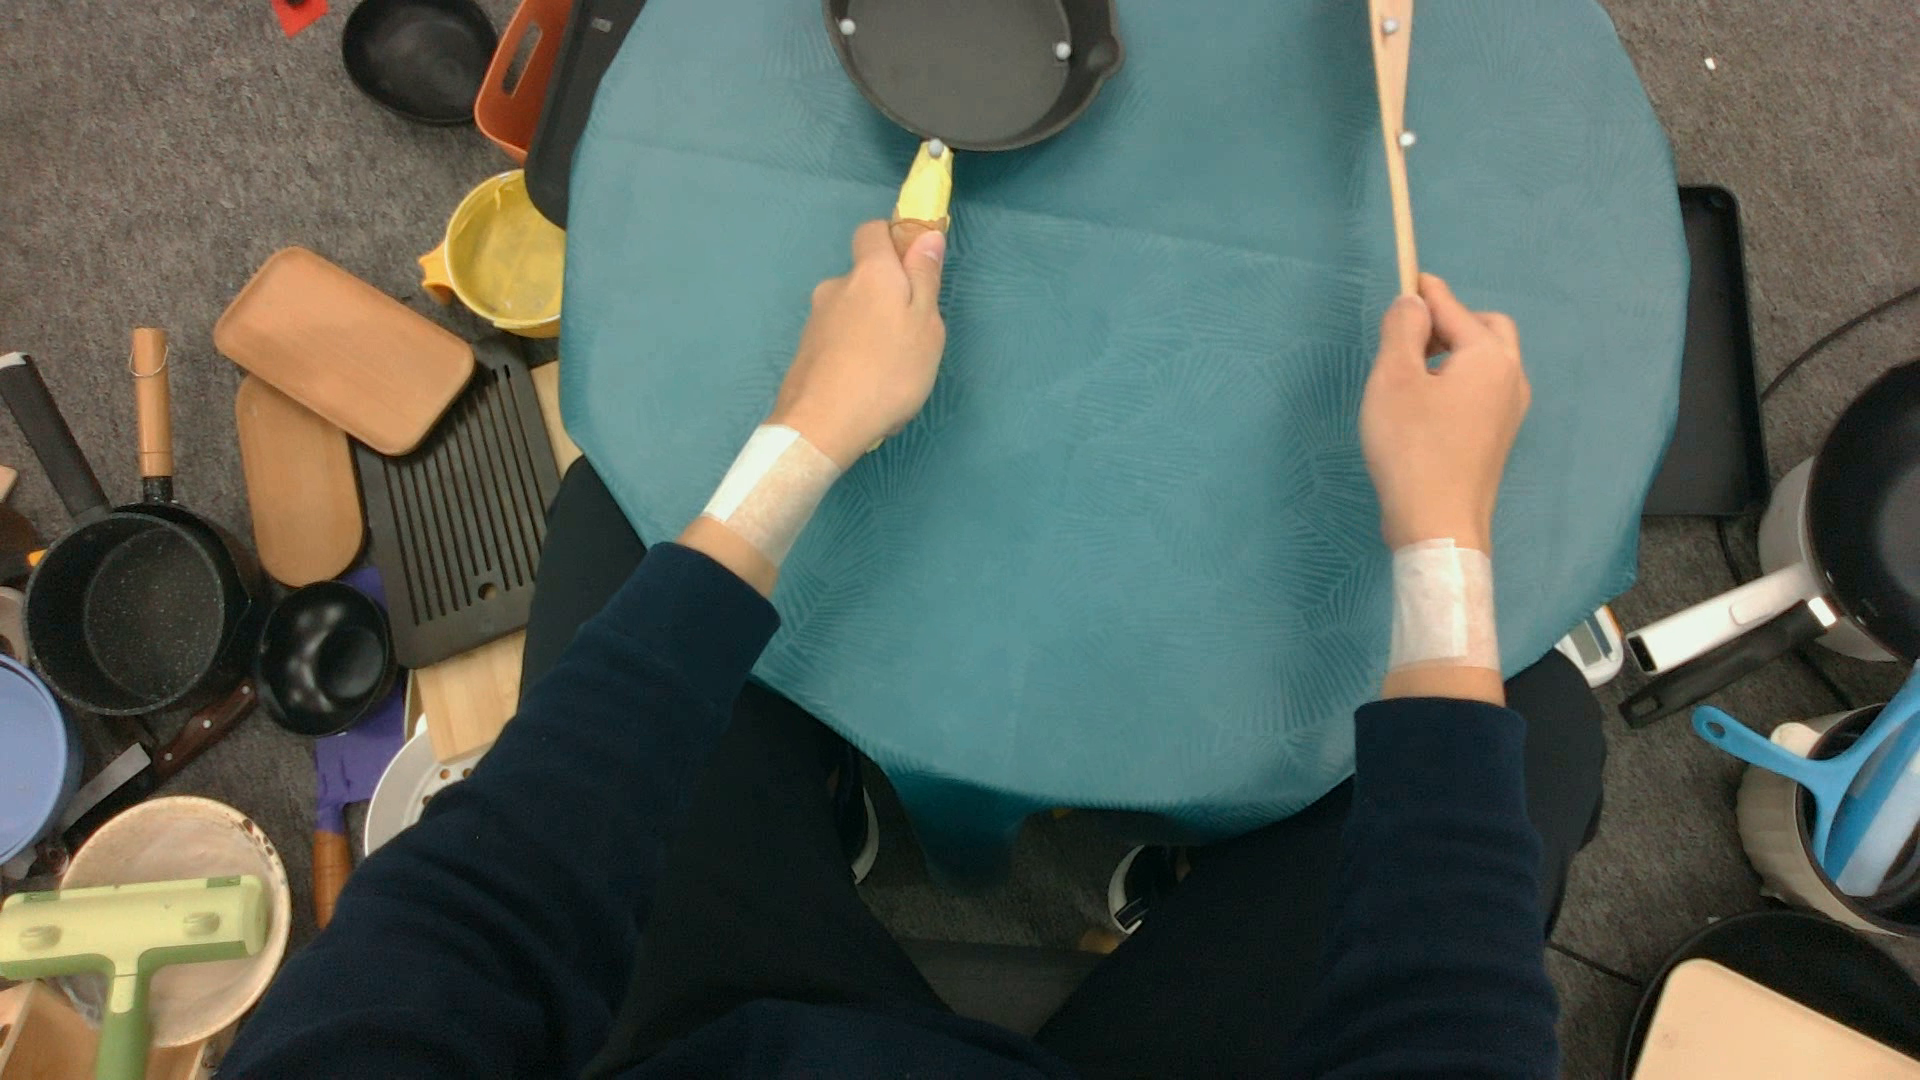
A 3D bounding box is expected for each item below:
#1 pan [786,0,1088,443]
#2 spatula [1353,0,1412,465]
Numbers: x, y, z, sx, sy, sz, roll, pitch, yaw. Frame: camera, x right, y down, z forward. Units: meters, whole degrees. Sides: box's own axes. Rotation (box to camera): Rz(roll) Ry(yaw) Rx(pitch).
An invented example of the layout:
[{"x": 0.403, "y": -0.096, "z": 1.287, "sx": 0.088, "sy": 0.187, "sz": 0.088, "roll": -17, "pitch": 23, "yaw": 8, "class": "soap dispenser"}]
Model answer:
[{"x": -0.032, "y": -0.200, "z": 0.705, "sx": 0.169, "sy": 0.049, "sz": 0.325, "roll": 15, "pitch": 76, "yaw": -9, "class": "pan"}, {"x": 0.213, "y": -0.193, "z": 0.691, "sx": 0.016, "sy": 0.080, "sz": 0.328, "roll": -7, "pitch": 71, "yaw": 23, "class": "spatula"}]
